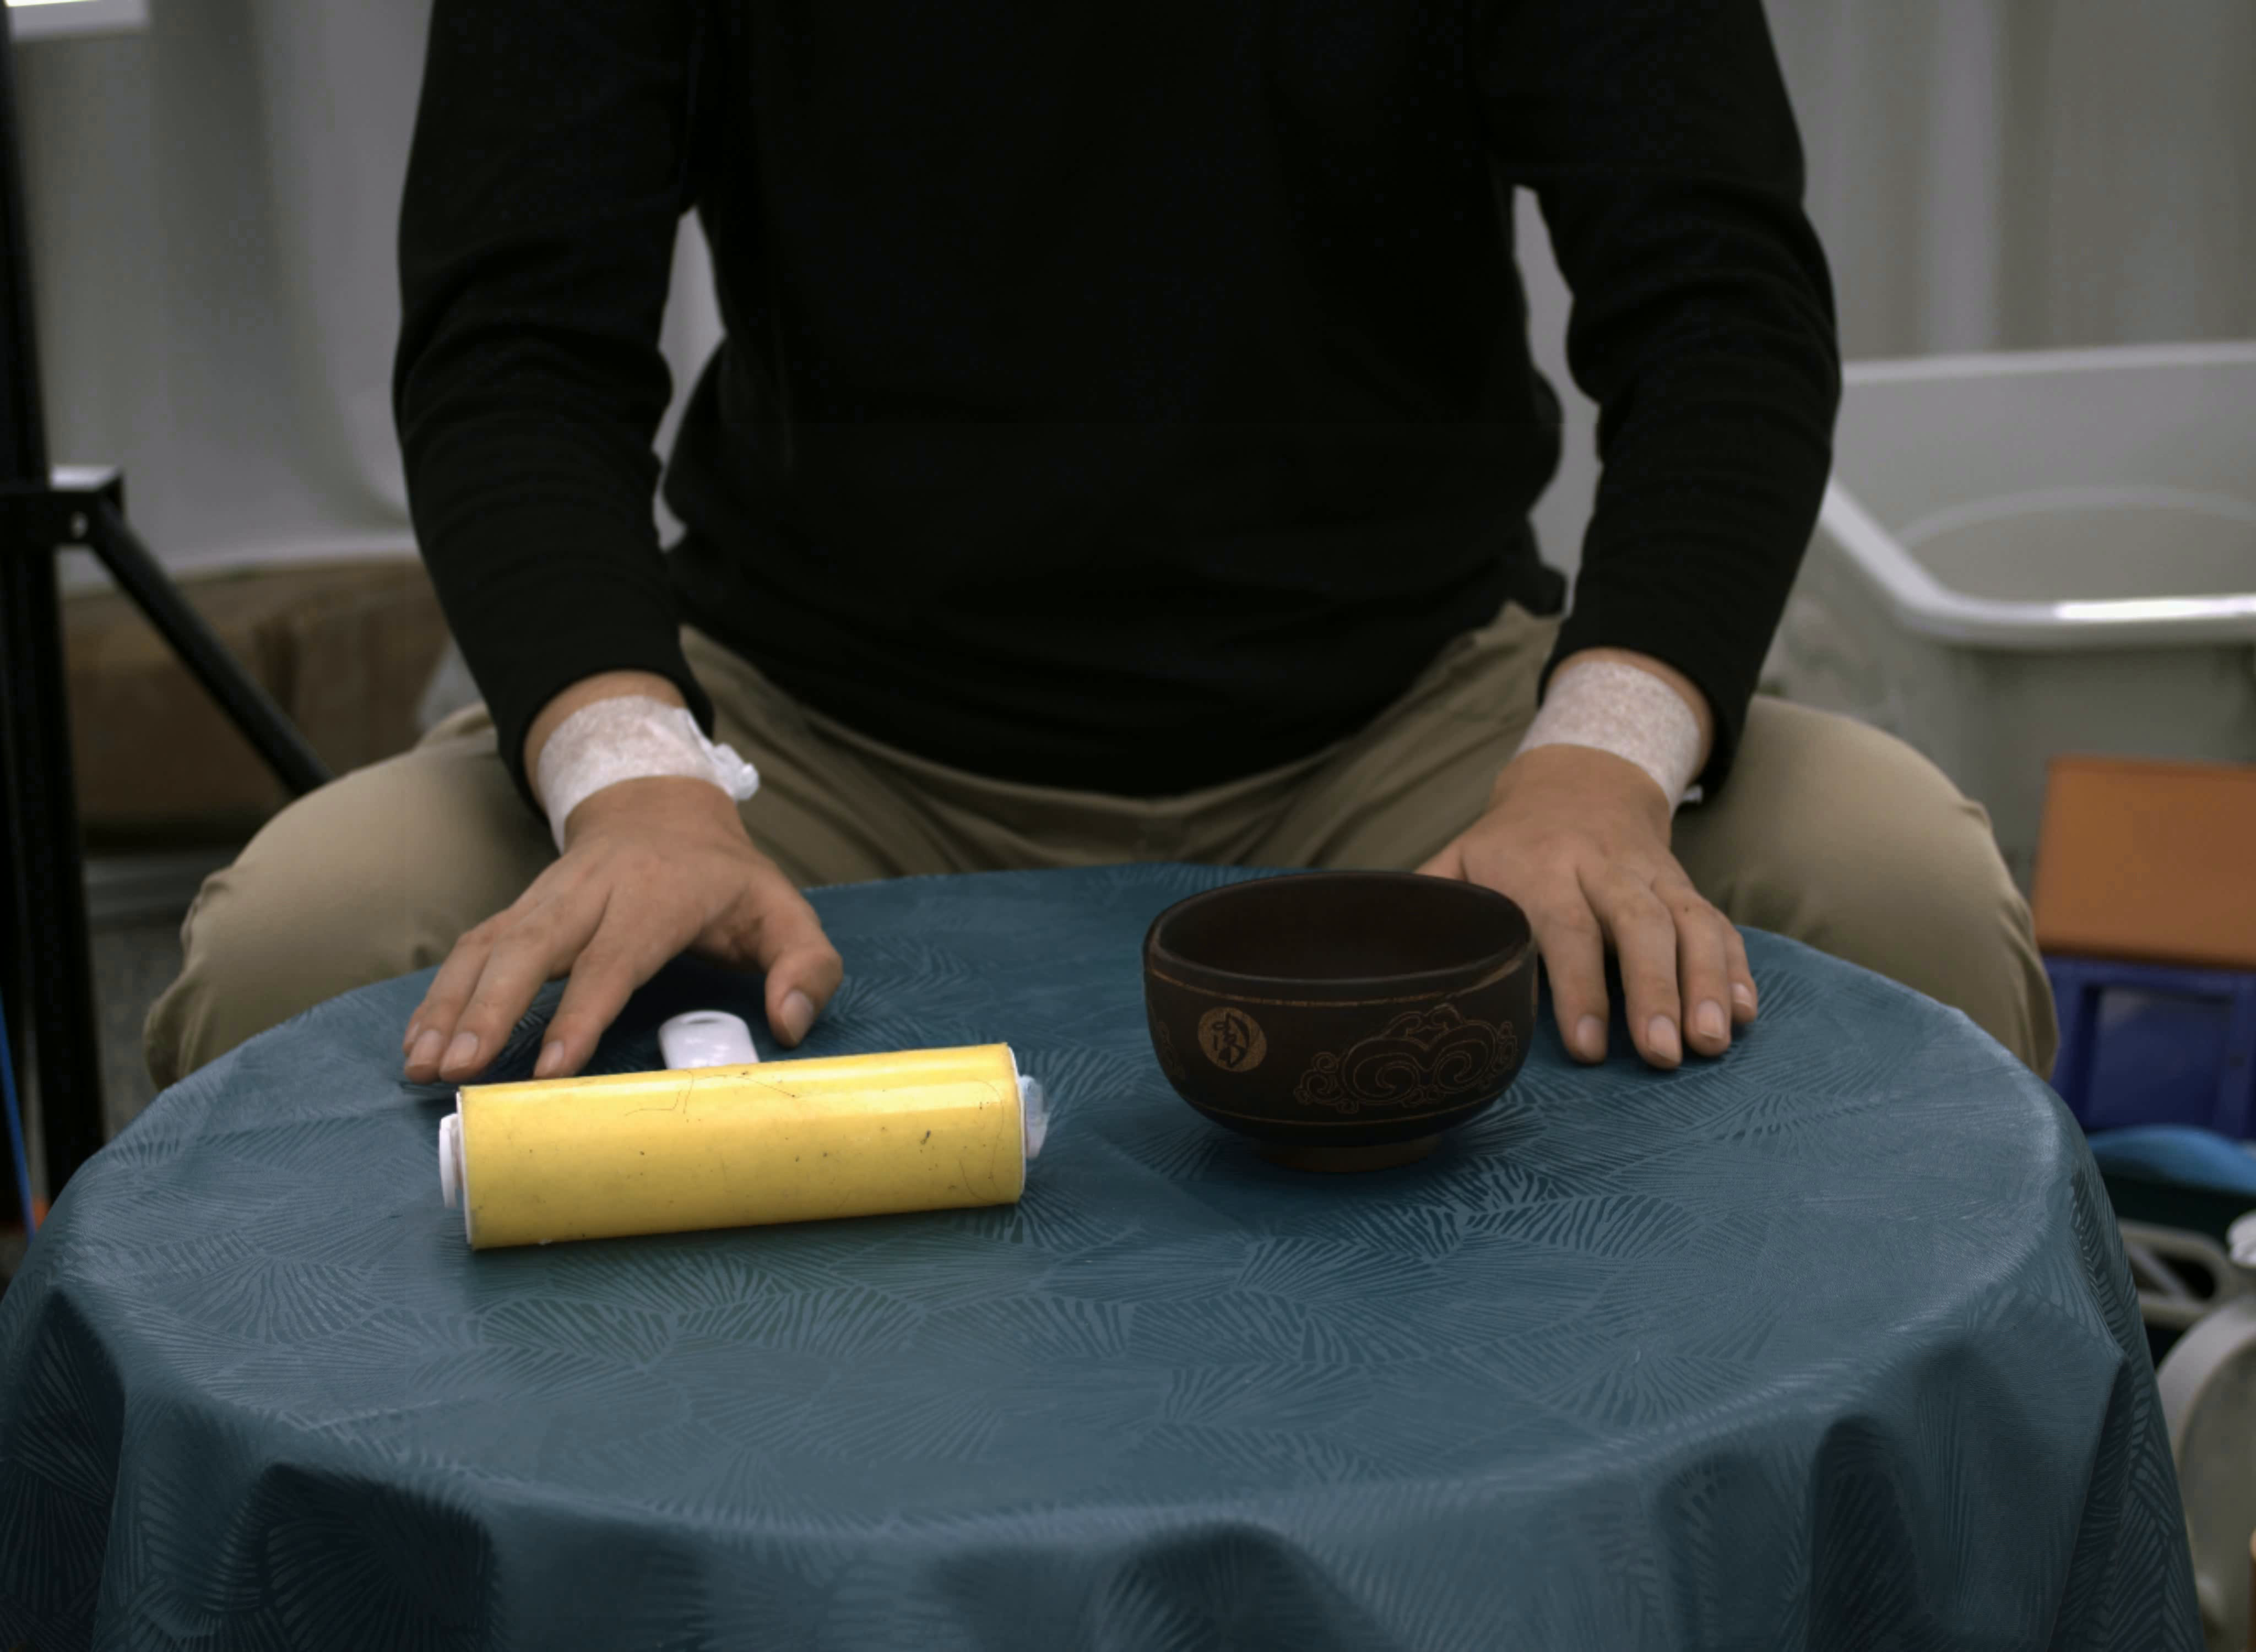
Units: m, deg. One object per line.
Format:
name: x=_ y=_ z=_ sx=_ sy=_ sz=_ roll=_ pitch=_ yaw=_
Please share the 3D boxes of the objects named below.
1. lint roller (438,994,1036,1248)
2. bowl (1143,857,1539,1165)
lint roller: x=-0.126 y=0.071 z=1.612 sx=0.172 sy=0.051 sz=0.194 roll=-5 pitch=20 yaw=-8
bowl: x=0.064 y=0.059 z=1.582 sx=0.117 sy=0.070 sz=0.118 roll=-2 pitch=17 yaw=-1
